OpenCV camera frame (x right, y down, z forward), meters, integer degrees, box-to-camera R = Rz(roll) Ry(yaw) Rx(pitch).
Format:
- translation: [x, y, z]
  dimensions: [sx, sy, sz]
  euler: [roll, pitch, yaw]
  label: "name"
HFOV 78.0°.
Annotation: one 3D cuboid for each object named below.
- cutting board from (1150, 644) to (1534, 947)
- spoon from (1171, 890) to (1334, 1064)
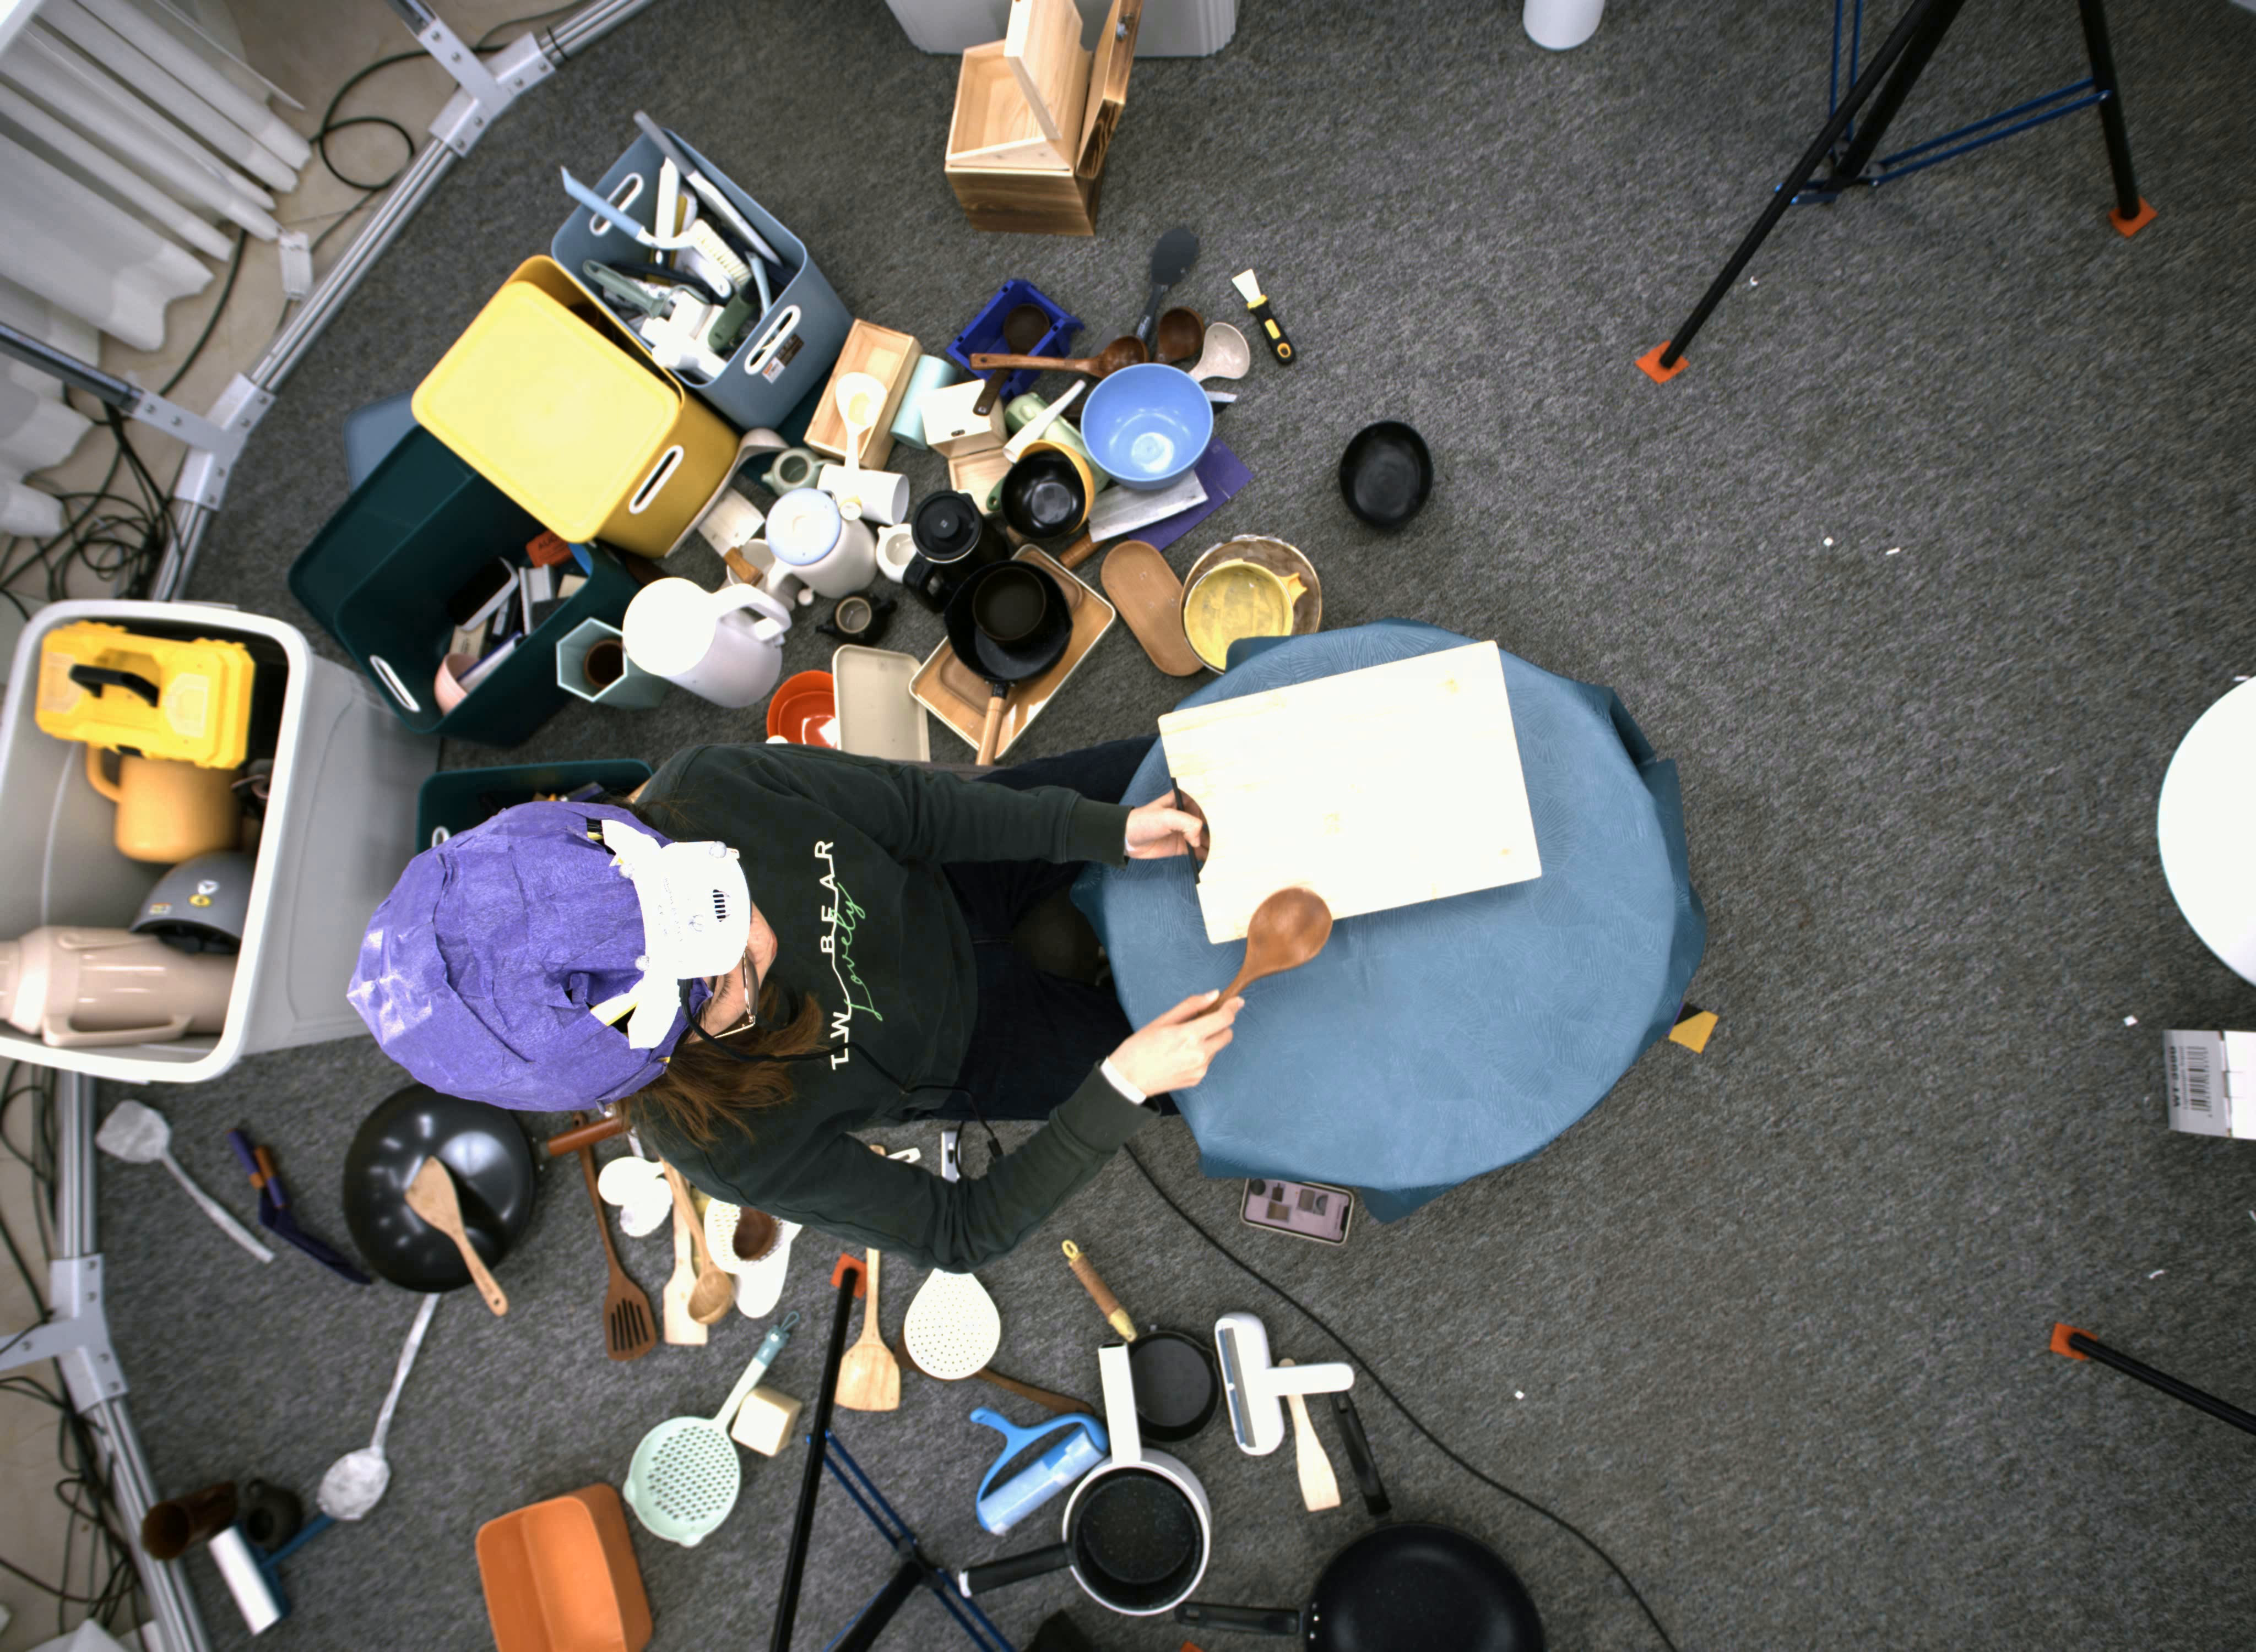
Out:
- translation: [0.218, -0.029, 1.388]
  dimensions: [0.350, 0.023, 0.252]
  euler: [-13, 99, 9]
  label: "cutting board"
- translation: [0.117, 0.145, 1.332]
  dimensions: [0.075, 0.017, 0.213]
  euler: [41, 72, 12]
  label: "spoon"
